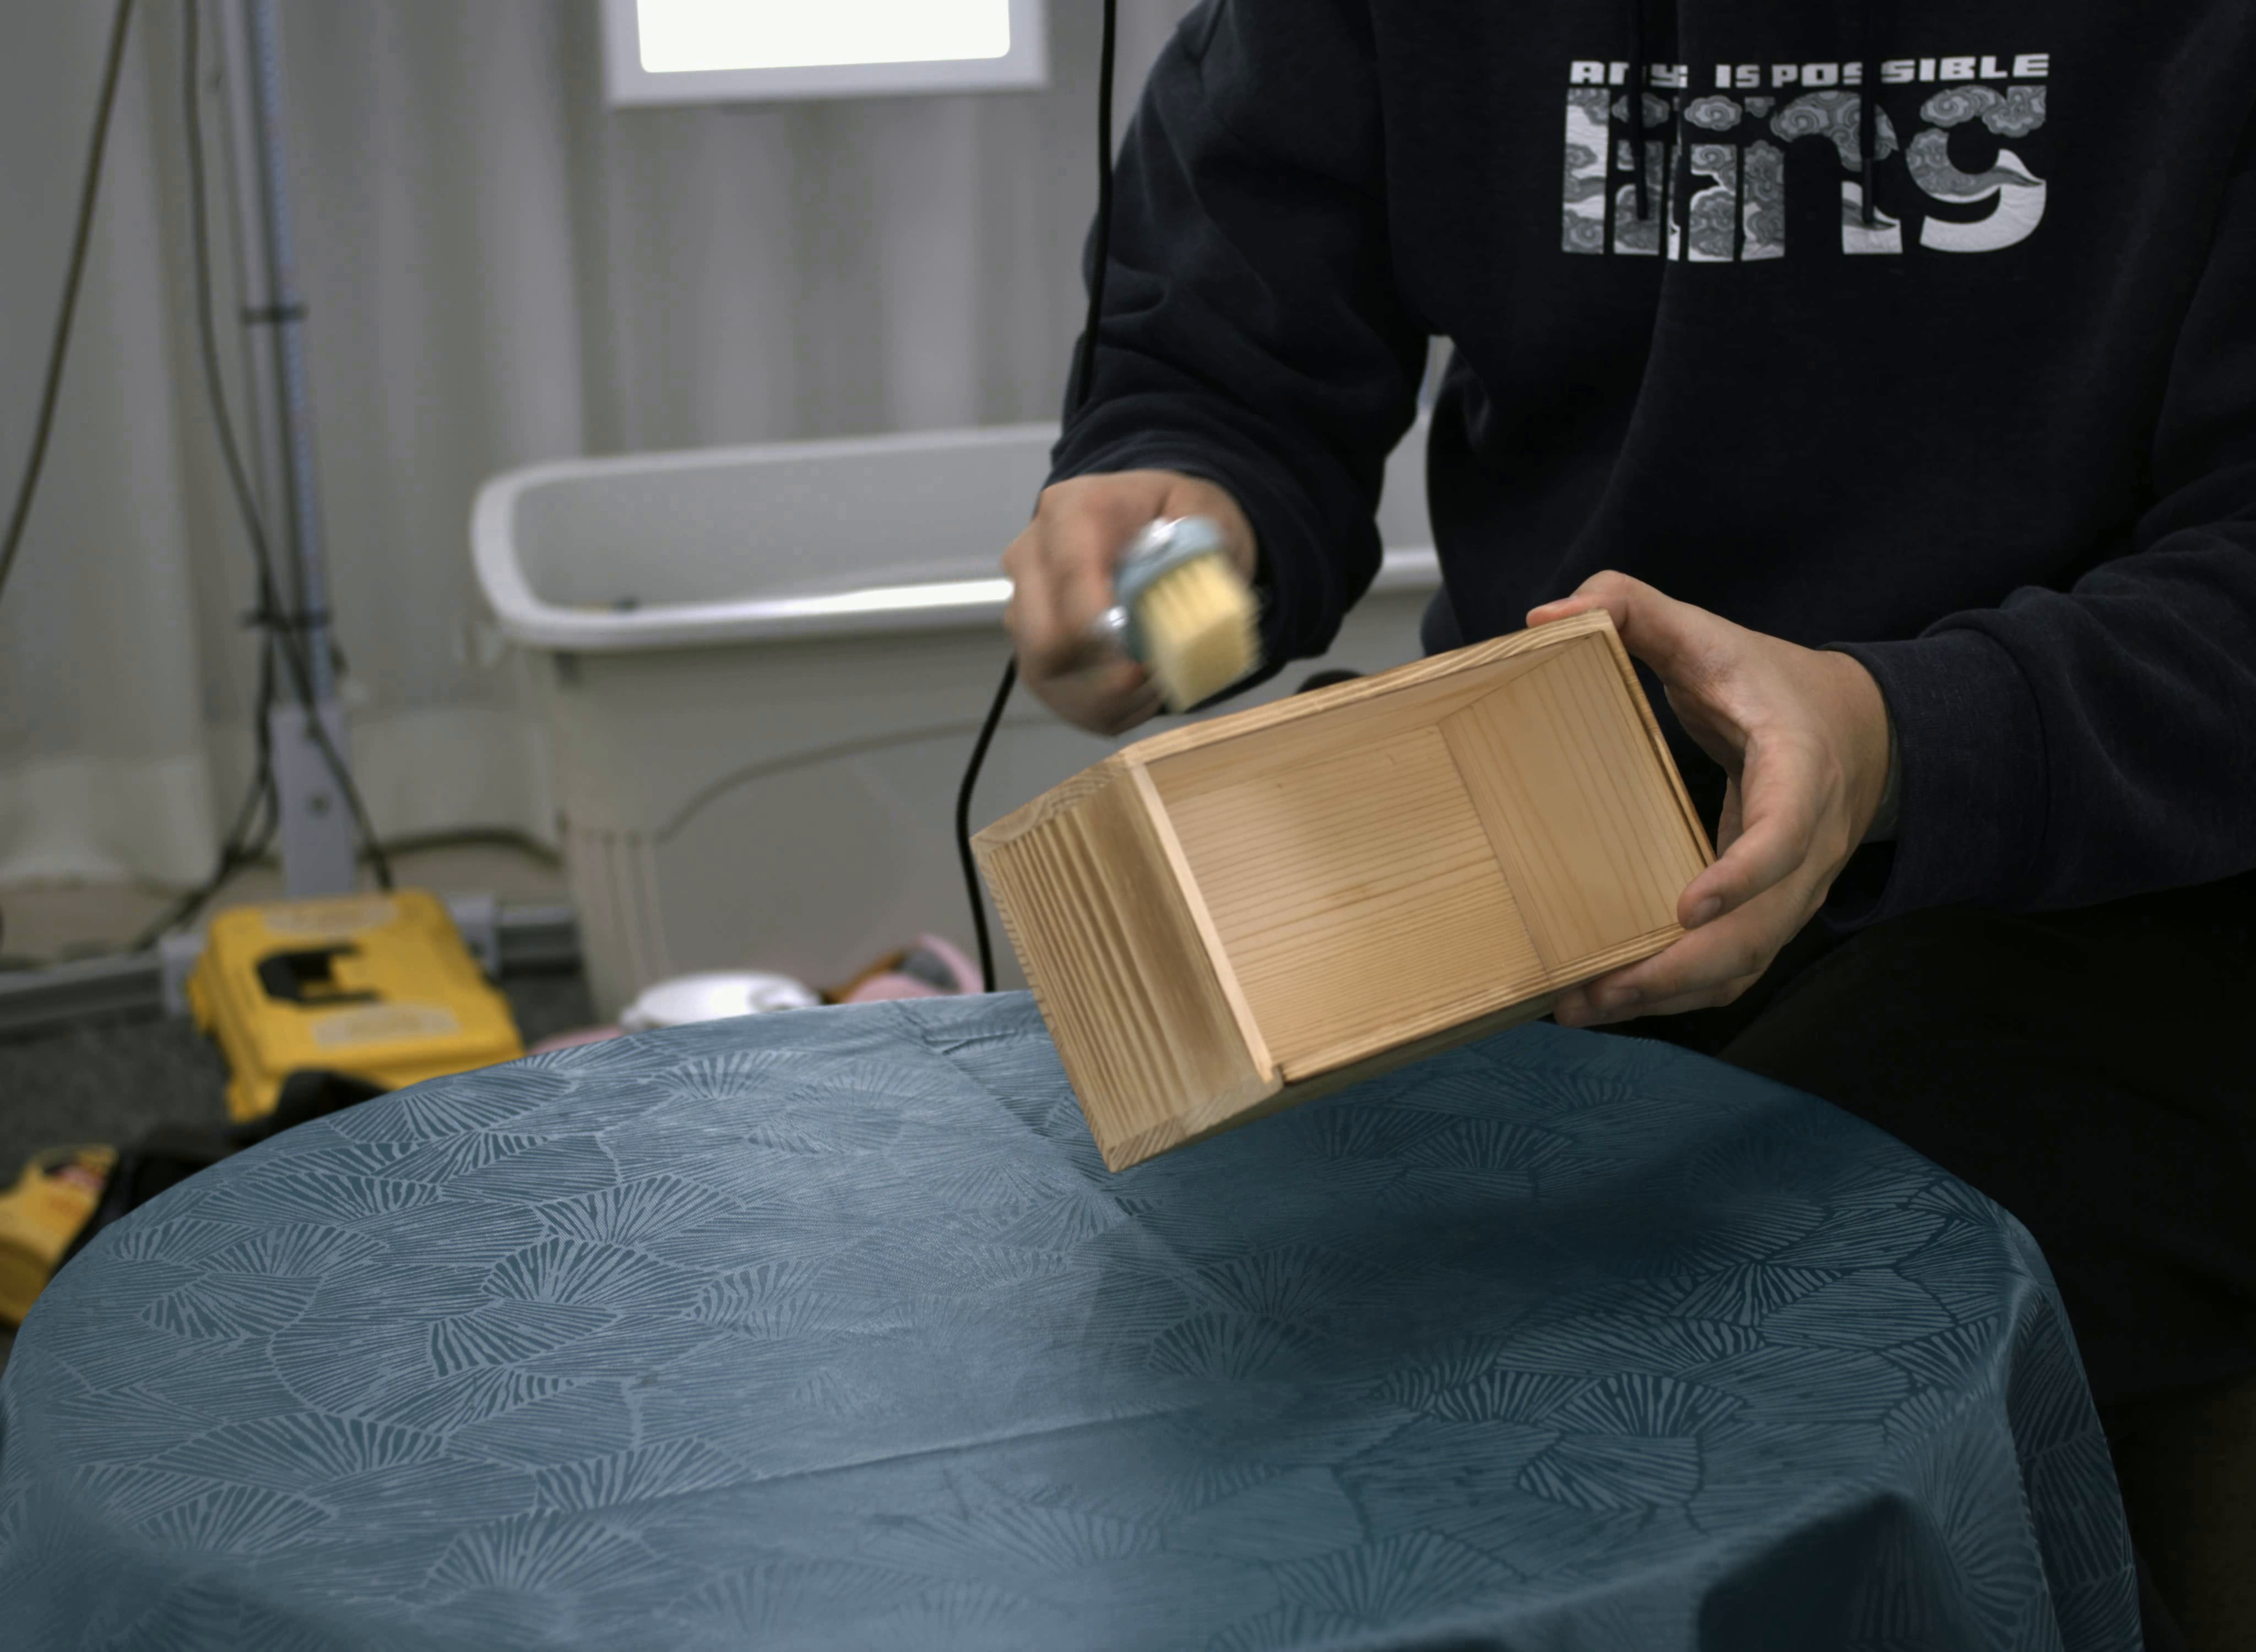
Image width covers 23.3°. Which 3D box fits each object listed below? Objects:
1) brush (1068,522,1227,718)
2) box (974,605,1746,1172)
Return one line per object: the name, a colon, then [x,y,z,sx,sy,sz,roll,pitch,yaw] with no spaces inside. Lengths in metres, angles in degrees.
brush: [0.003,-0.056,1.738,0.038,0.050,0.228,-32,-1,-7]
box: [0.071,0.016,1.605,0.211,0.108,0.080,-17,-10,-44]
